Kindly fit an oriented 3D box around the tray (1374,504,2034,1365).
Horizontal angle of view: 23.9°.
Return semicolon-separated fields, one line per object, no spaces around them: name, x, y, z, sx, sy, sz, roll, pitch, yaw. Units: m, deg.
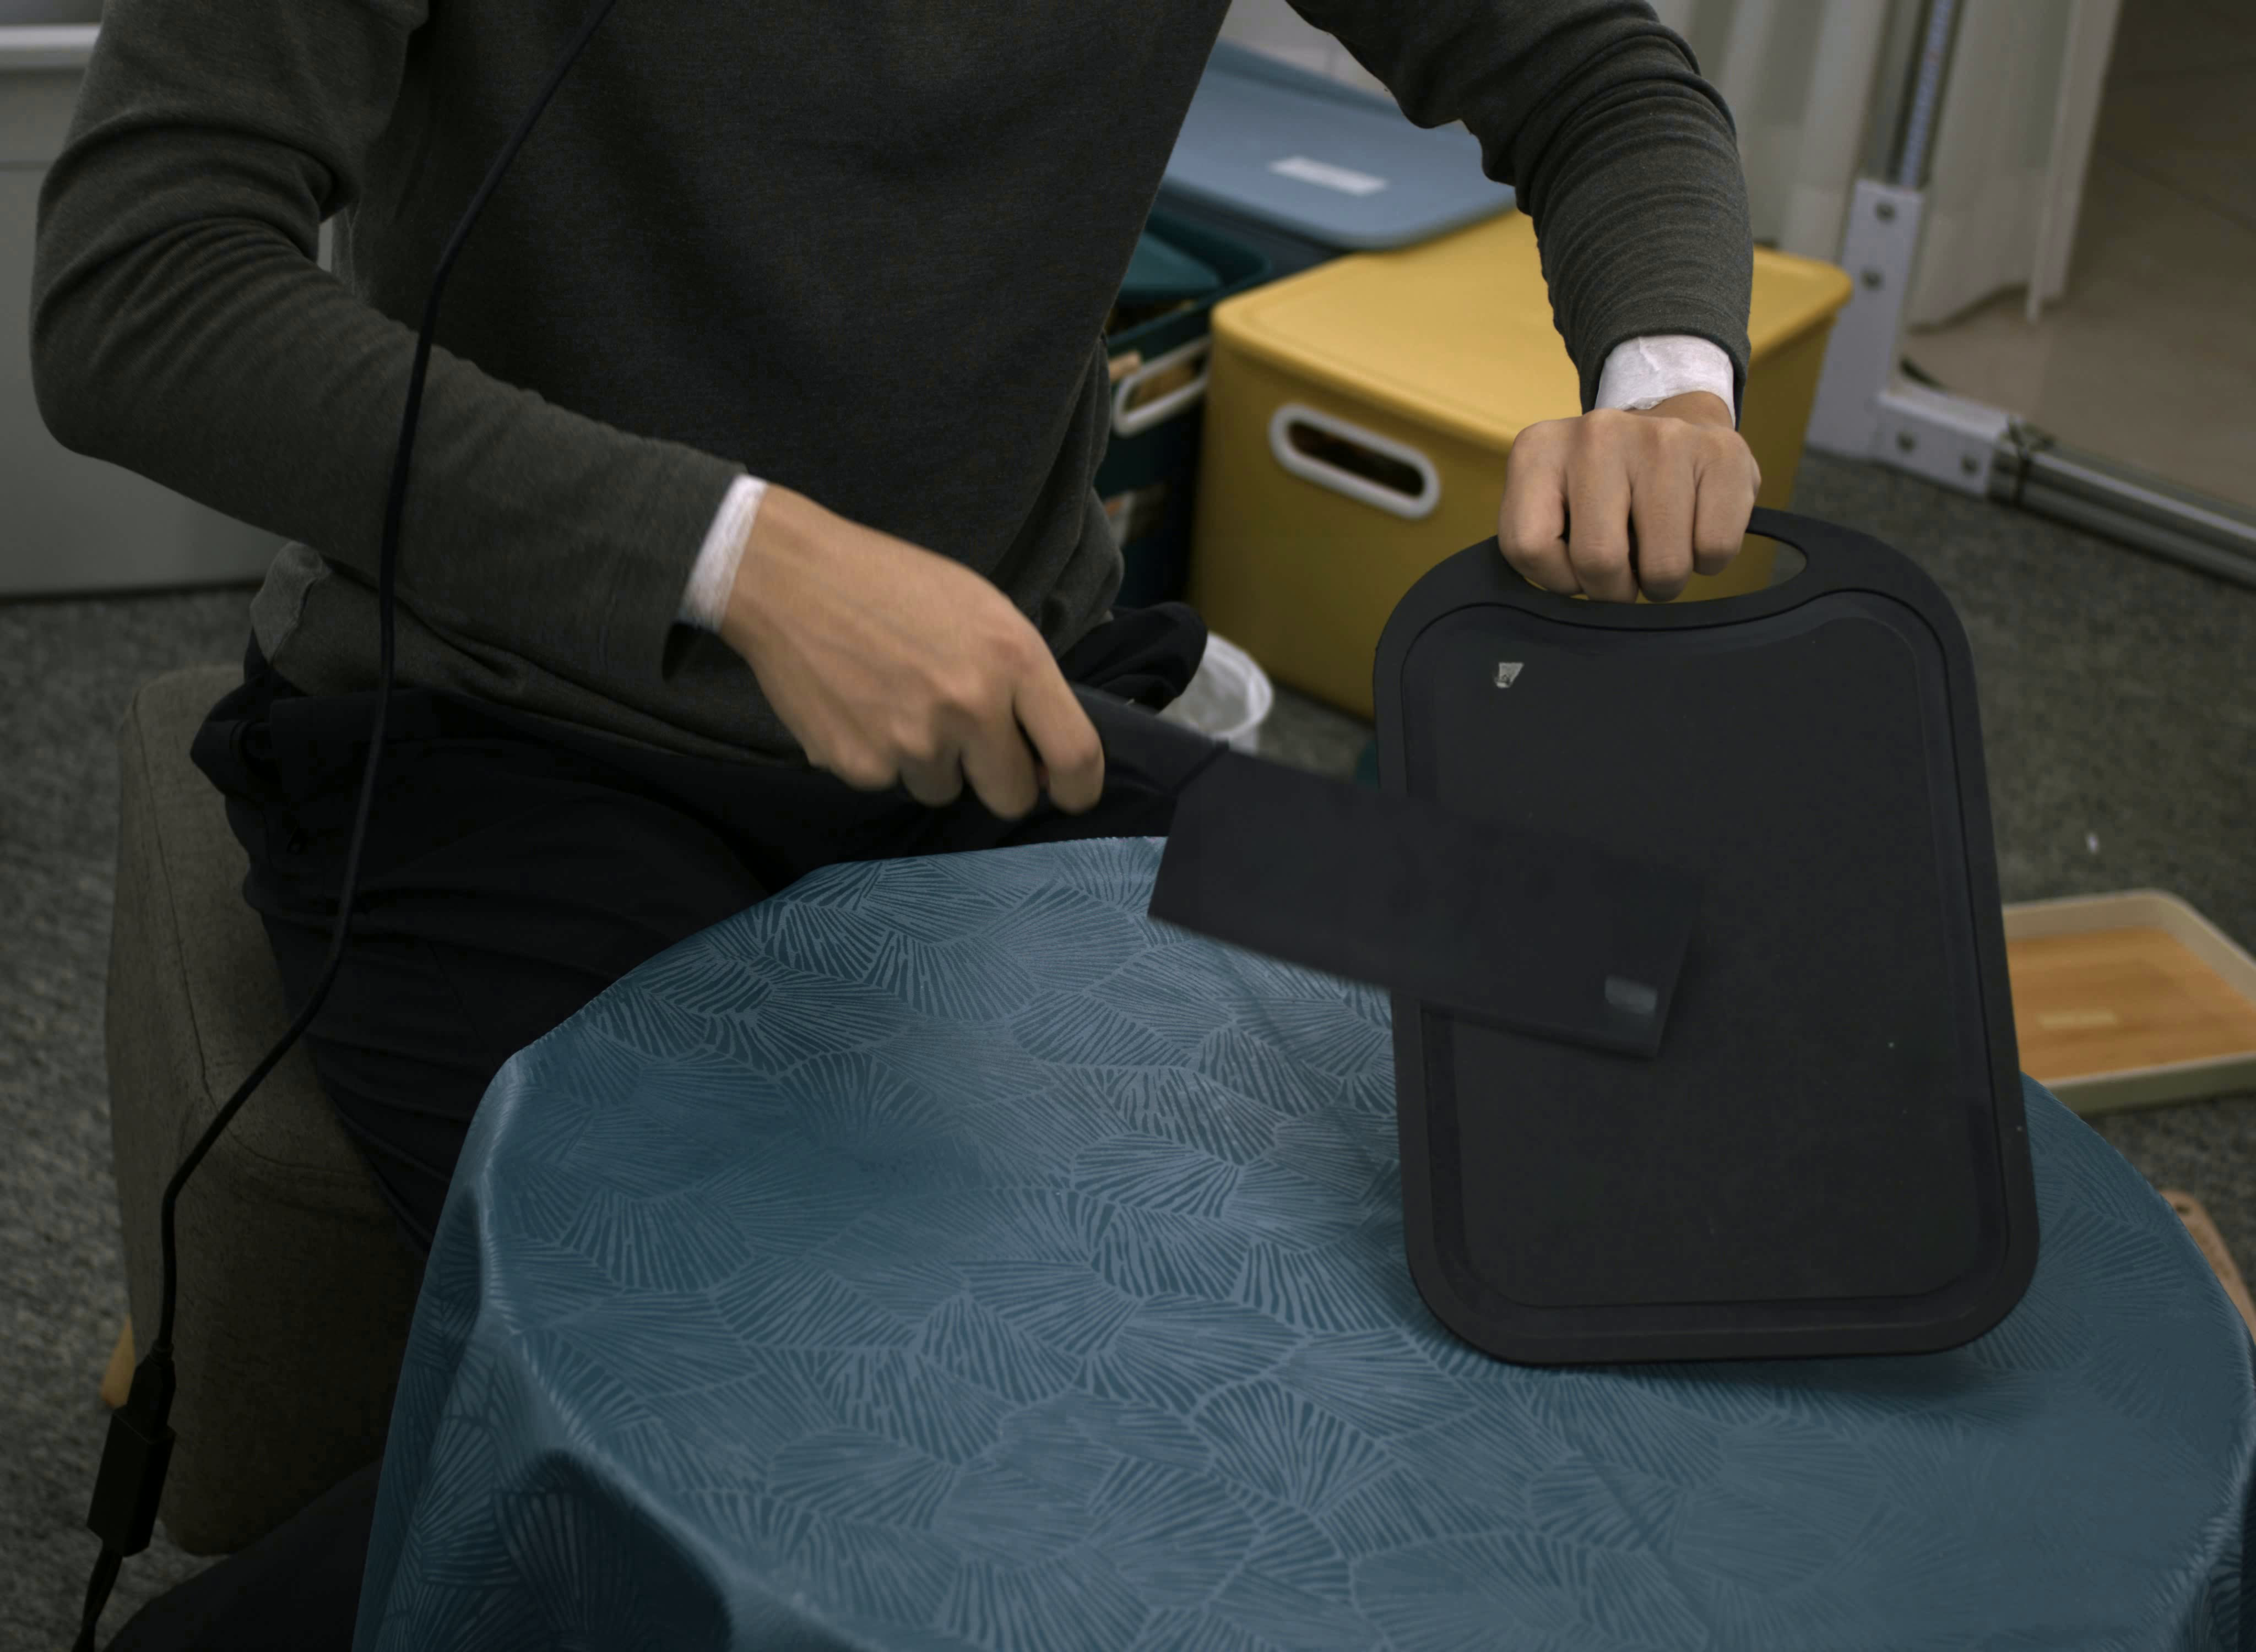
tray;0.191;0.030;1.806;0.210;0.010;0.328;-2;62;1

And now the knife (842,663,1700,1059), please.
knife;0.044;0.008;1.807;0.303;0.081;0.021;21;-2;12
